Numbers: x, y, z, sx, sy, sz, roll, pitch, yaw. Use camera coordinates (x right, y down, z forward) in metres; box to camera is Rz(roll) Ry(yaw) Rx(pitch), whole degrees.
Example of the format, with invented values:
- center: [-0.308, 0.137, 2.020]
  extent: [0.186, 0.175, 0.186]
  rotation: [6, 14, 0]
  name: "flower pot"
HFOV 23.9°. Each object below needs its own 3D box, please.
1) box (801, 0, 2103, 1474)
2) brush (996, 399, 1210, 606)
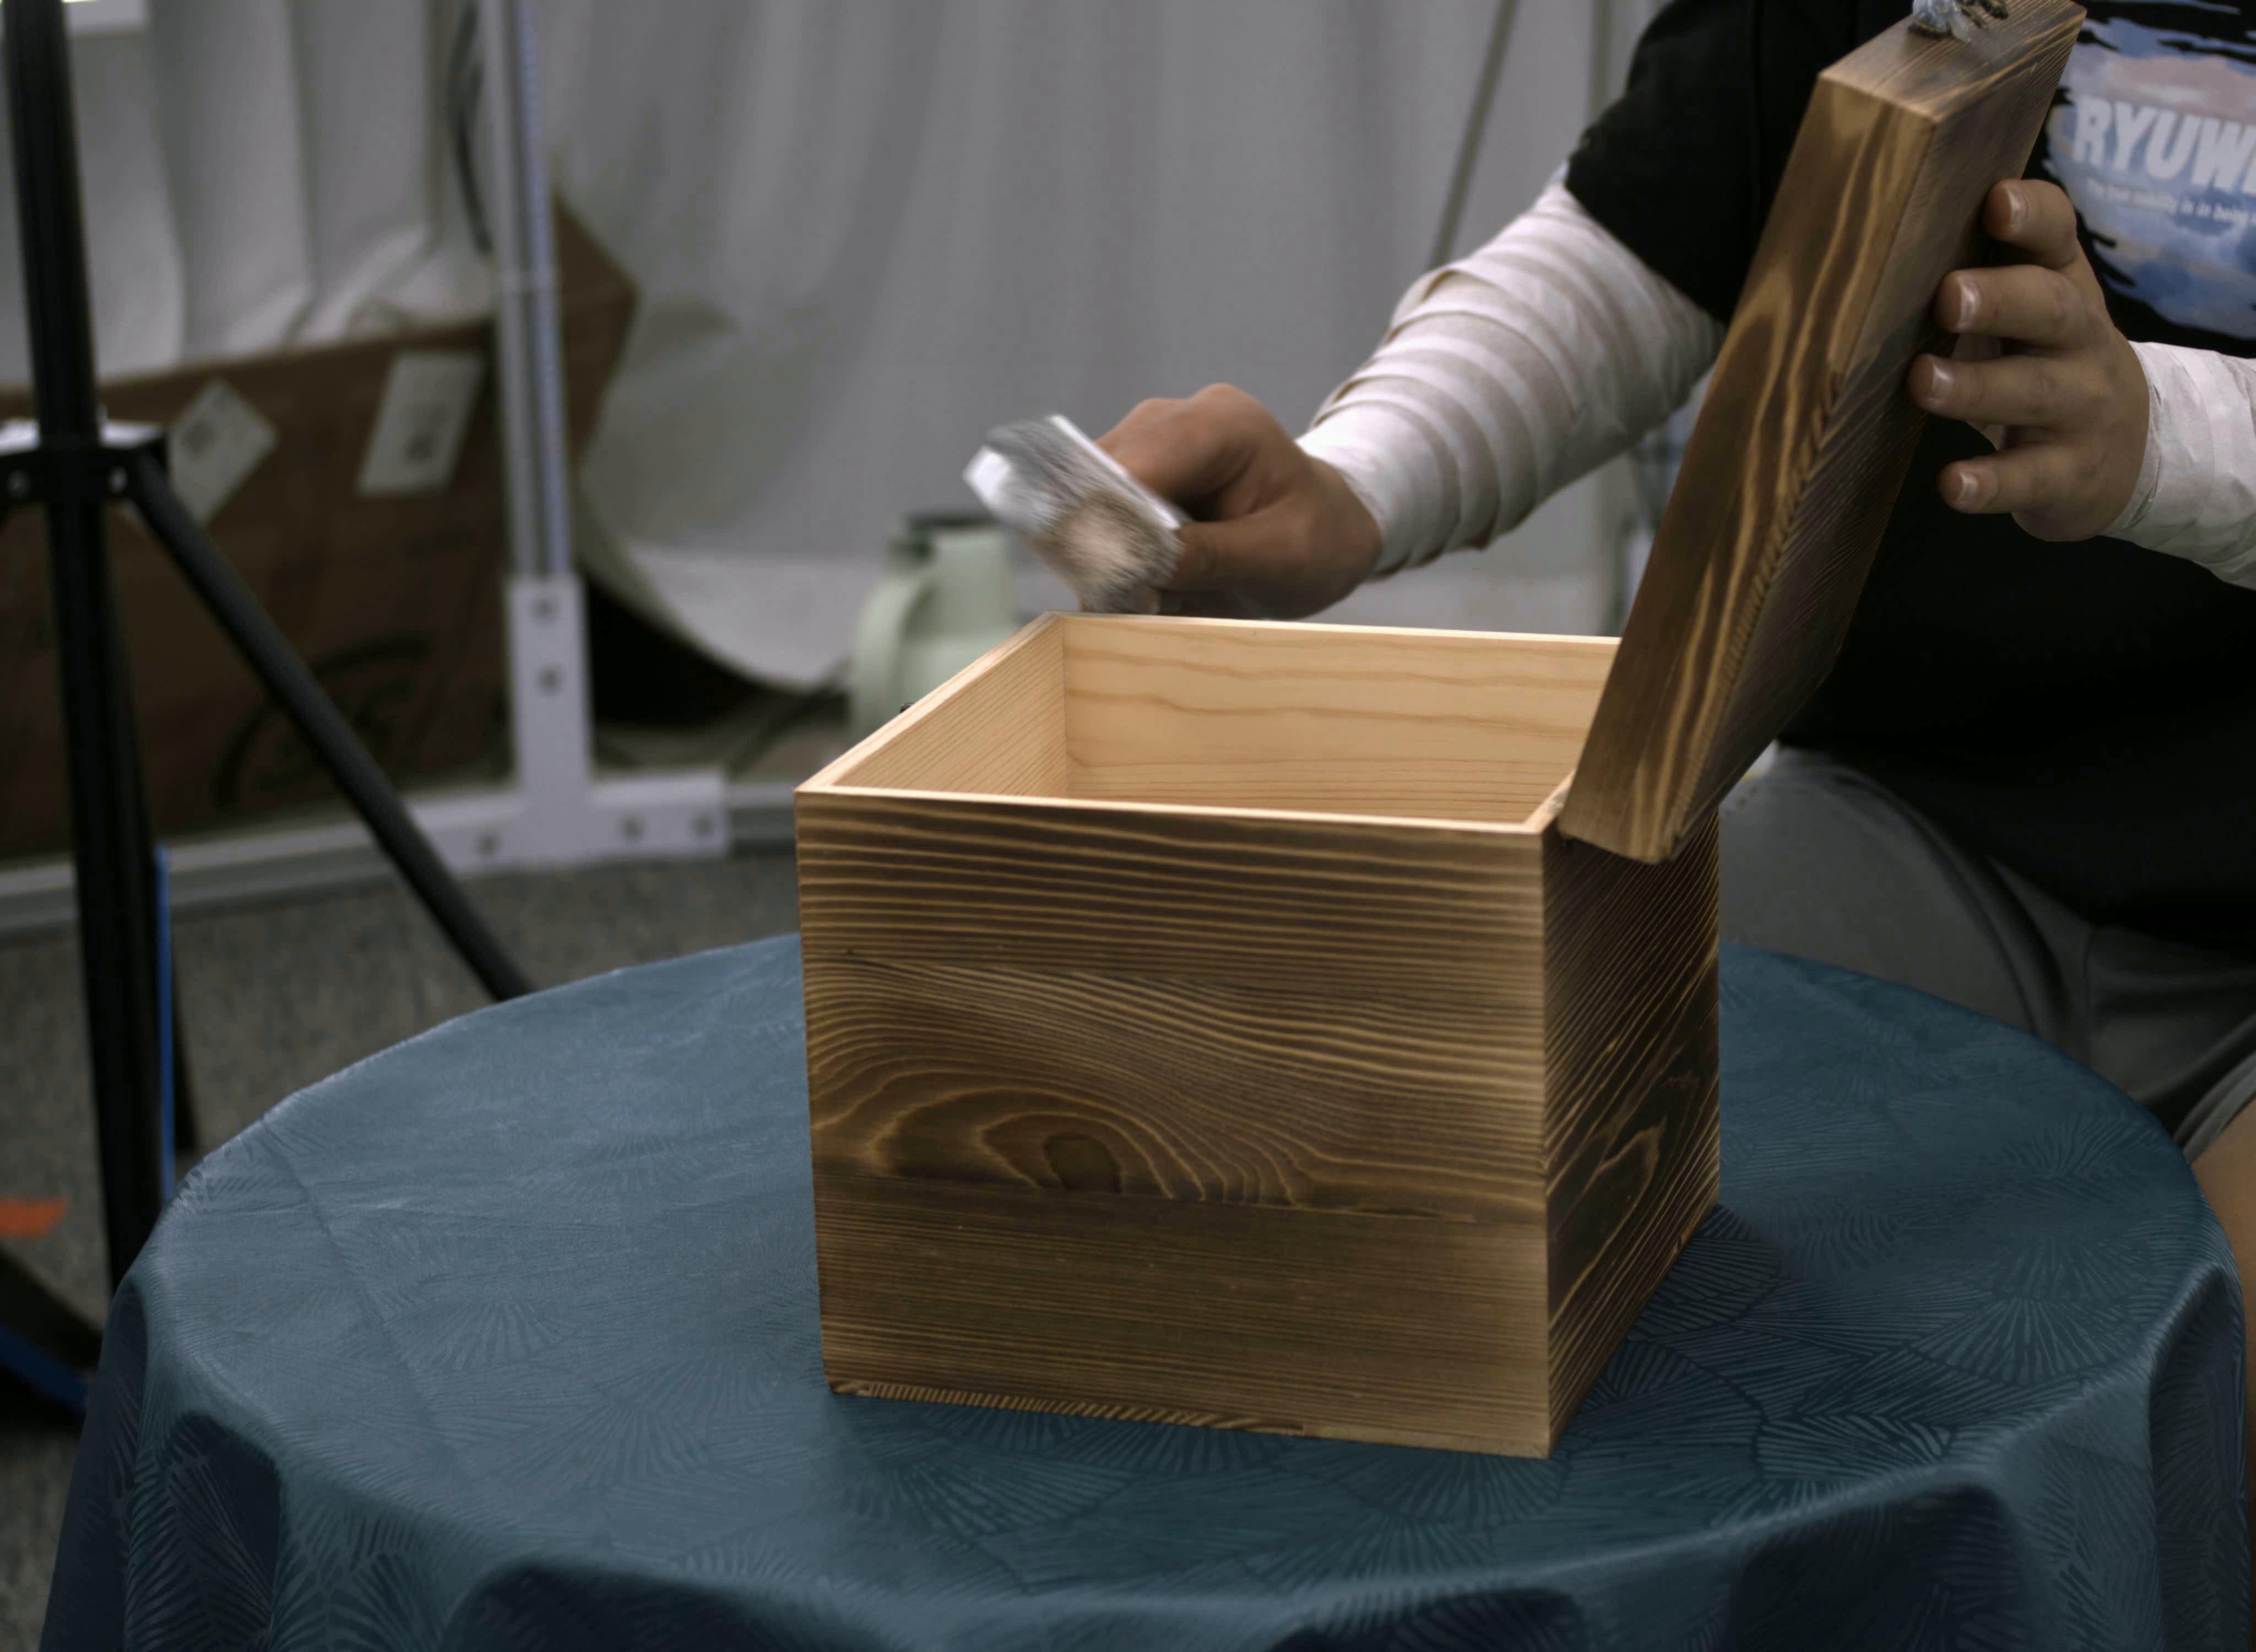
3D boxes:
- center: [0.092, -0.036, 1.411]
  extent: [0.326, 0.376, 0.206]
  rotation: [6, 15, 19]
  name: "box"
- center: [0.007, -0.082, 1.621]
  extent: [0.034, 0.051, 0.241]
  rotation: [-38, -12, 4]
  name: "brush"
